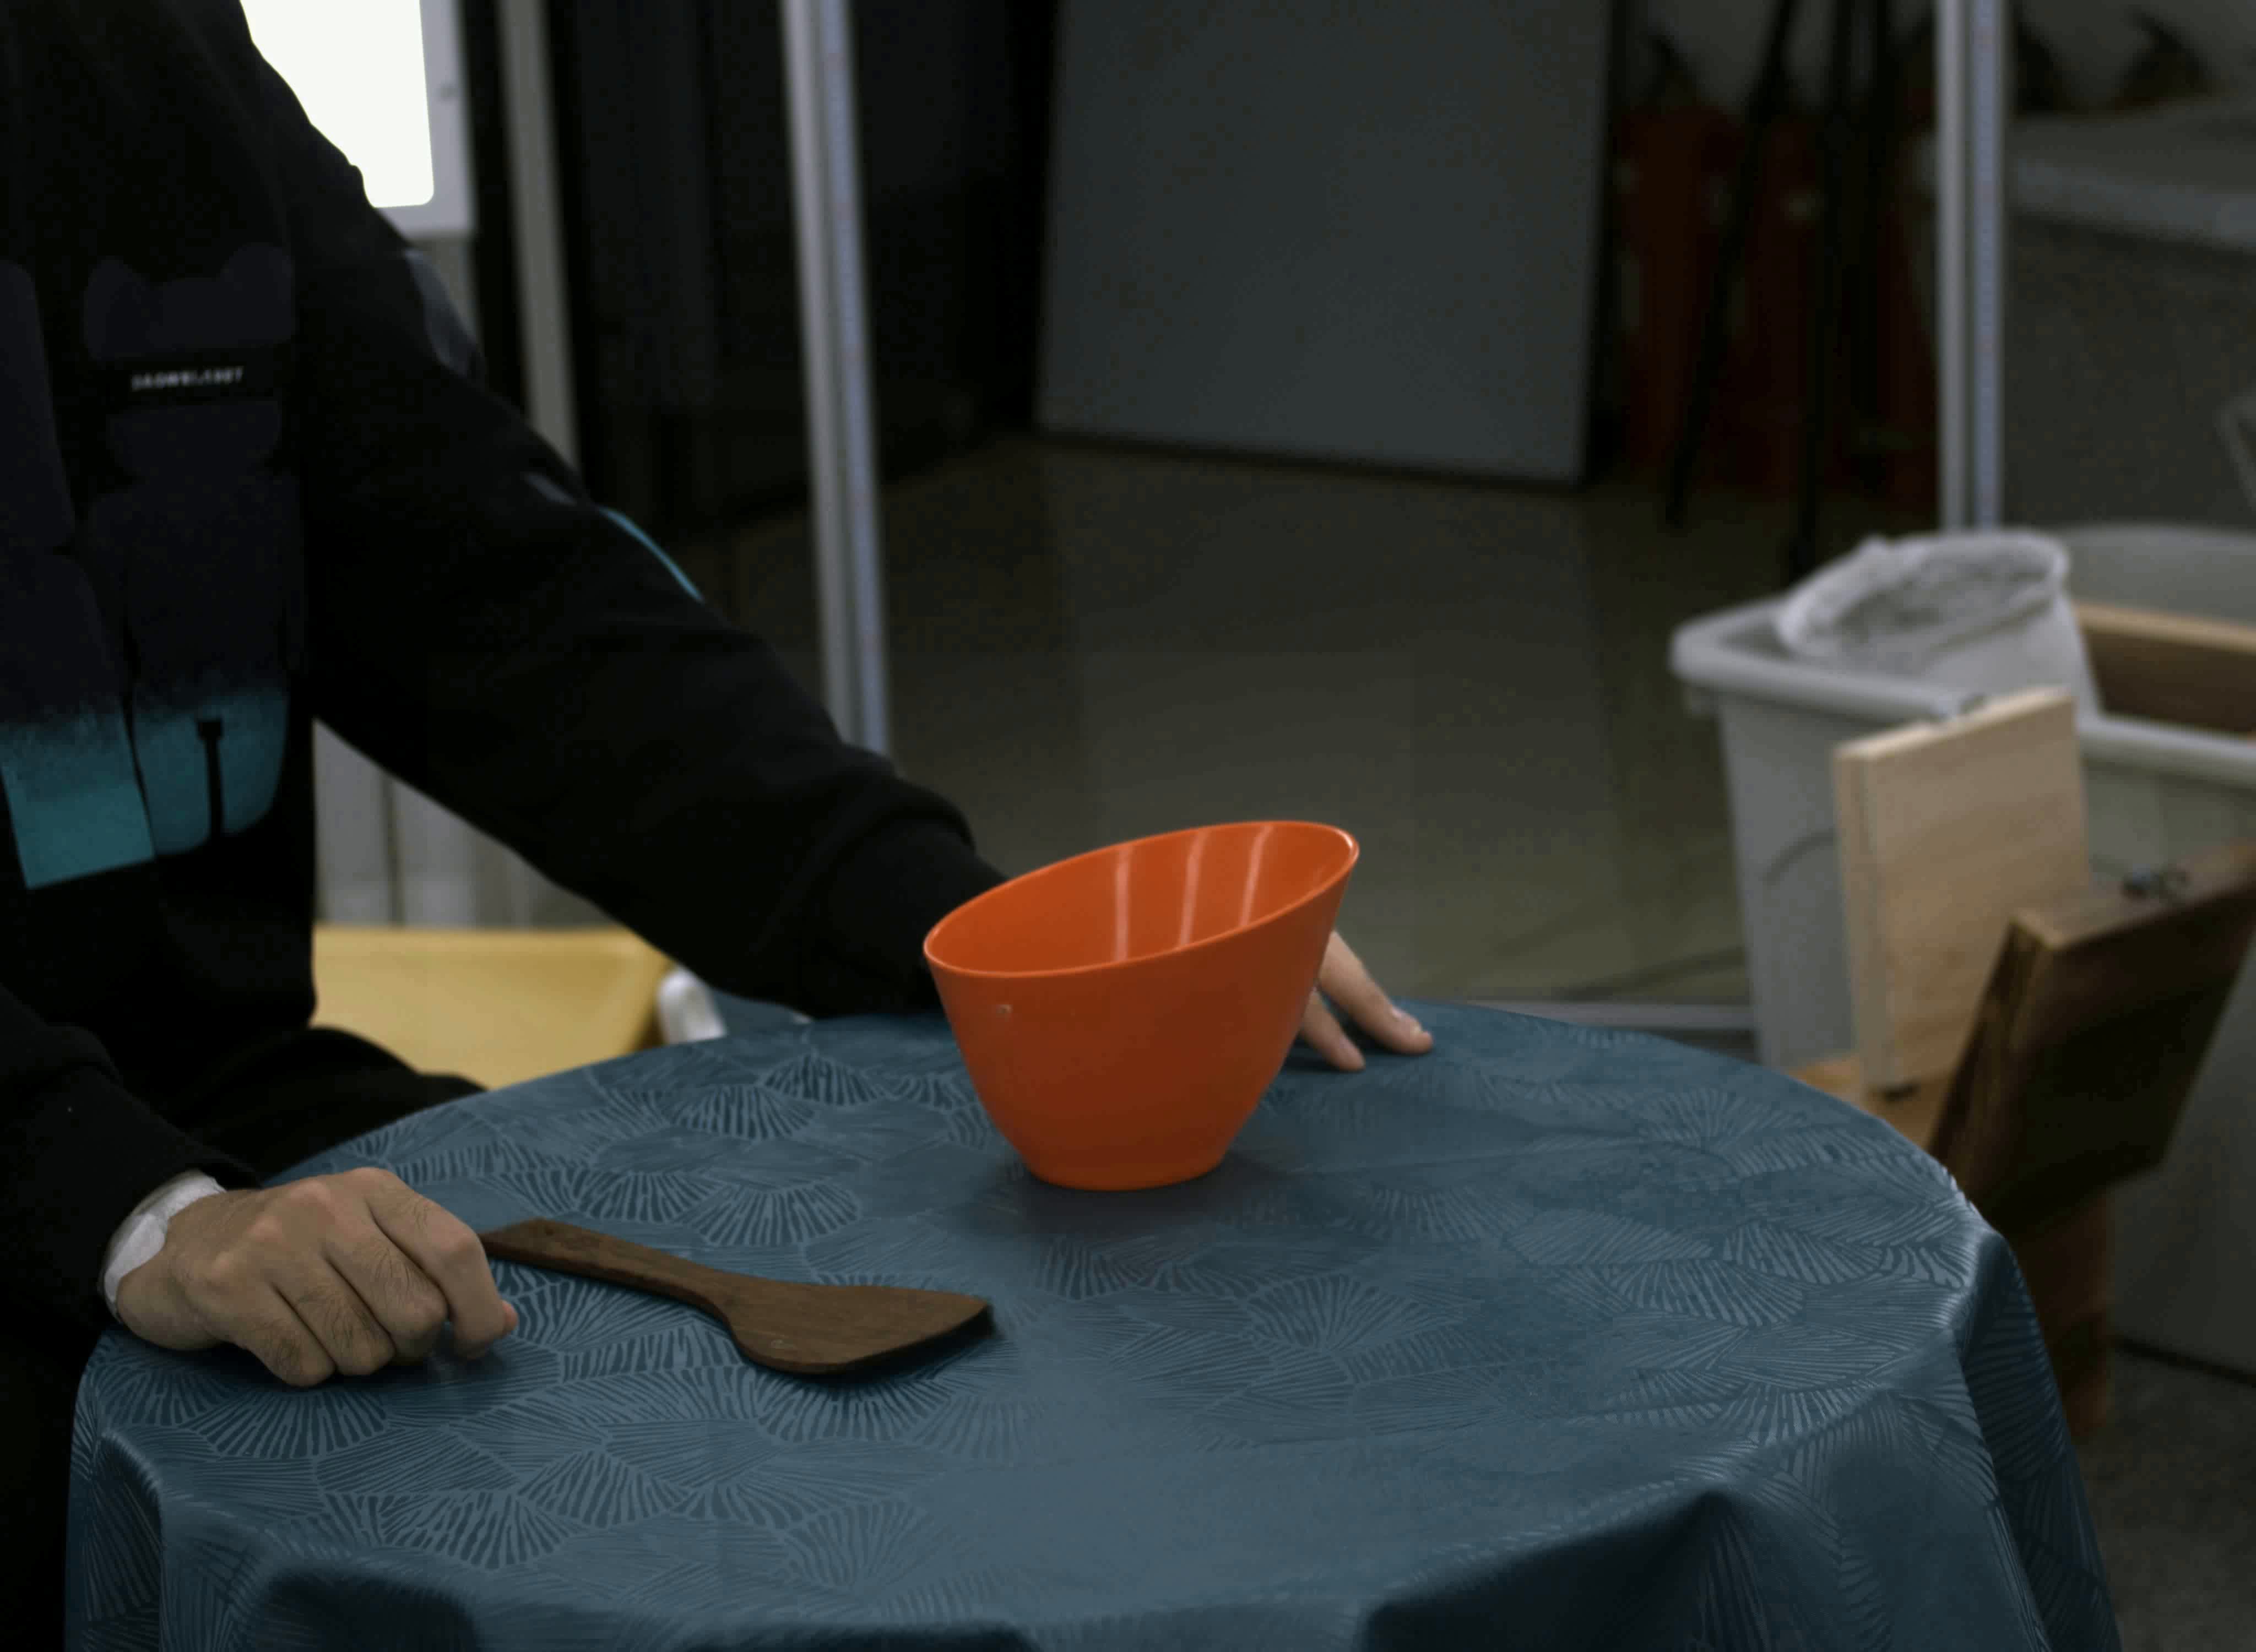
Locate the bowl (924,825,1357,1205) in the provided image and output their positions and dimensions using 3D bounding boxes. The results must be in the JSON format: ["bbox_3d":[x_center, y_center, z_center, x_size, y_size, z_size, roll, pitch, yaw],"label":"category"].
[{"bbox_3d":[0.008,0.065,1.789,0.146,0.106,0.148,-6,14,1],"label":"bowl"}]

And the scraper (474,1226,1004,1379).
[{"bbox_3d":[-0.131,0.147,1.692,0.074,0.011,0.213,-16,17,-43],"label":"scraper"}]
